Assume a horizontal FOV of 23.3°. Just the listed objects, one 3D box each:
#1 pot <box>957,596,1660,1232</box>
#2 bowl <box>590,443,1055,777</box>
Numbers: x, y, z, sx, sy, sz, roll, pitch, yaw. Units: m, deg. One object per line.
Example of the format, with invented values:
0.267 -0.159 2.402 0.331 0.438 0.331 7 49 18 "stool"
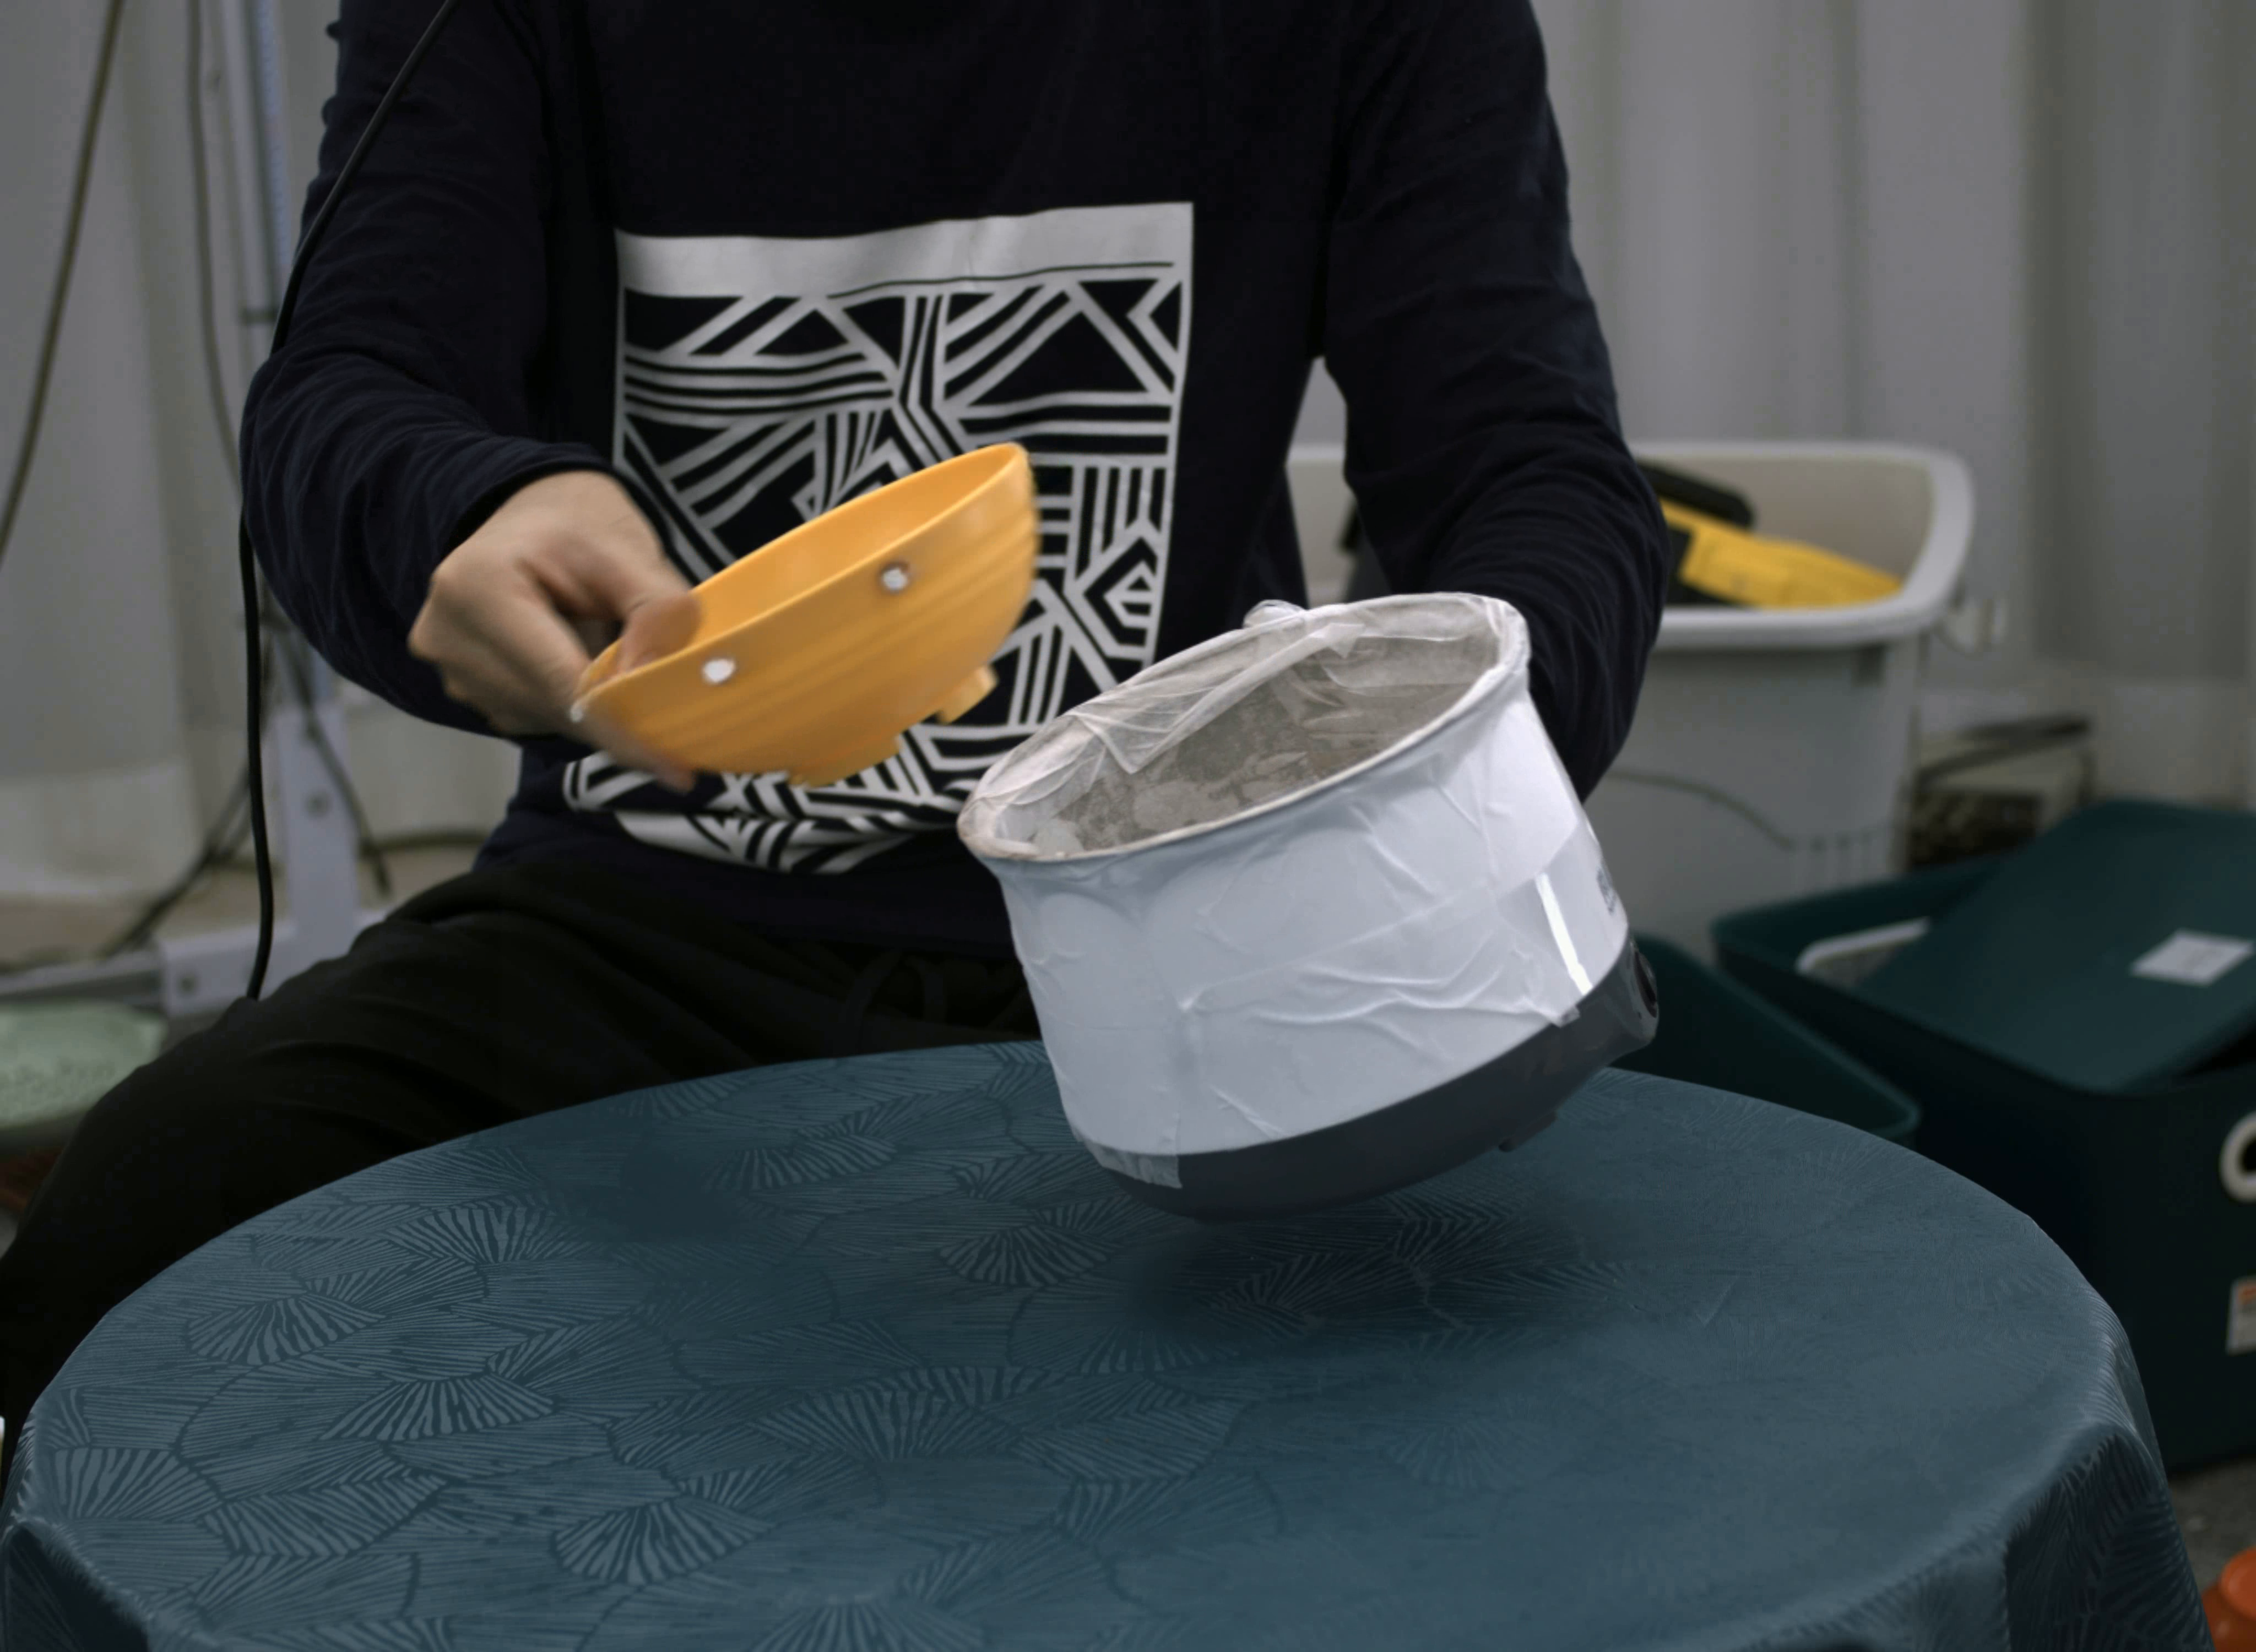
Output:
0.057 0.018 1.644 0.178 0.136 0.235 -18 15 12 "pot"
-0.078 -0.055 1.583 0.145 0.060 0.146 -24 10 4 "bowl"
